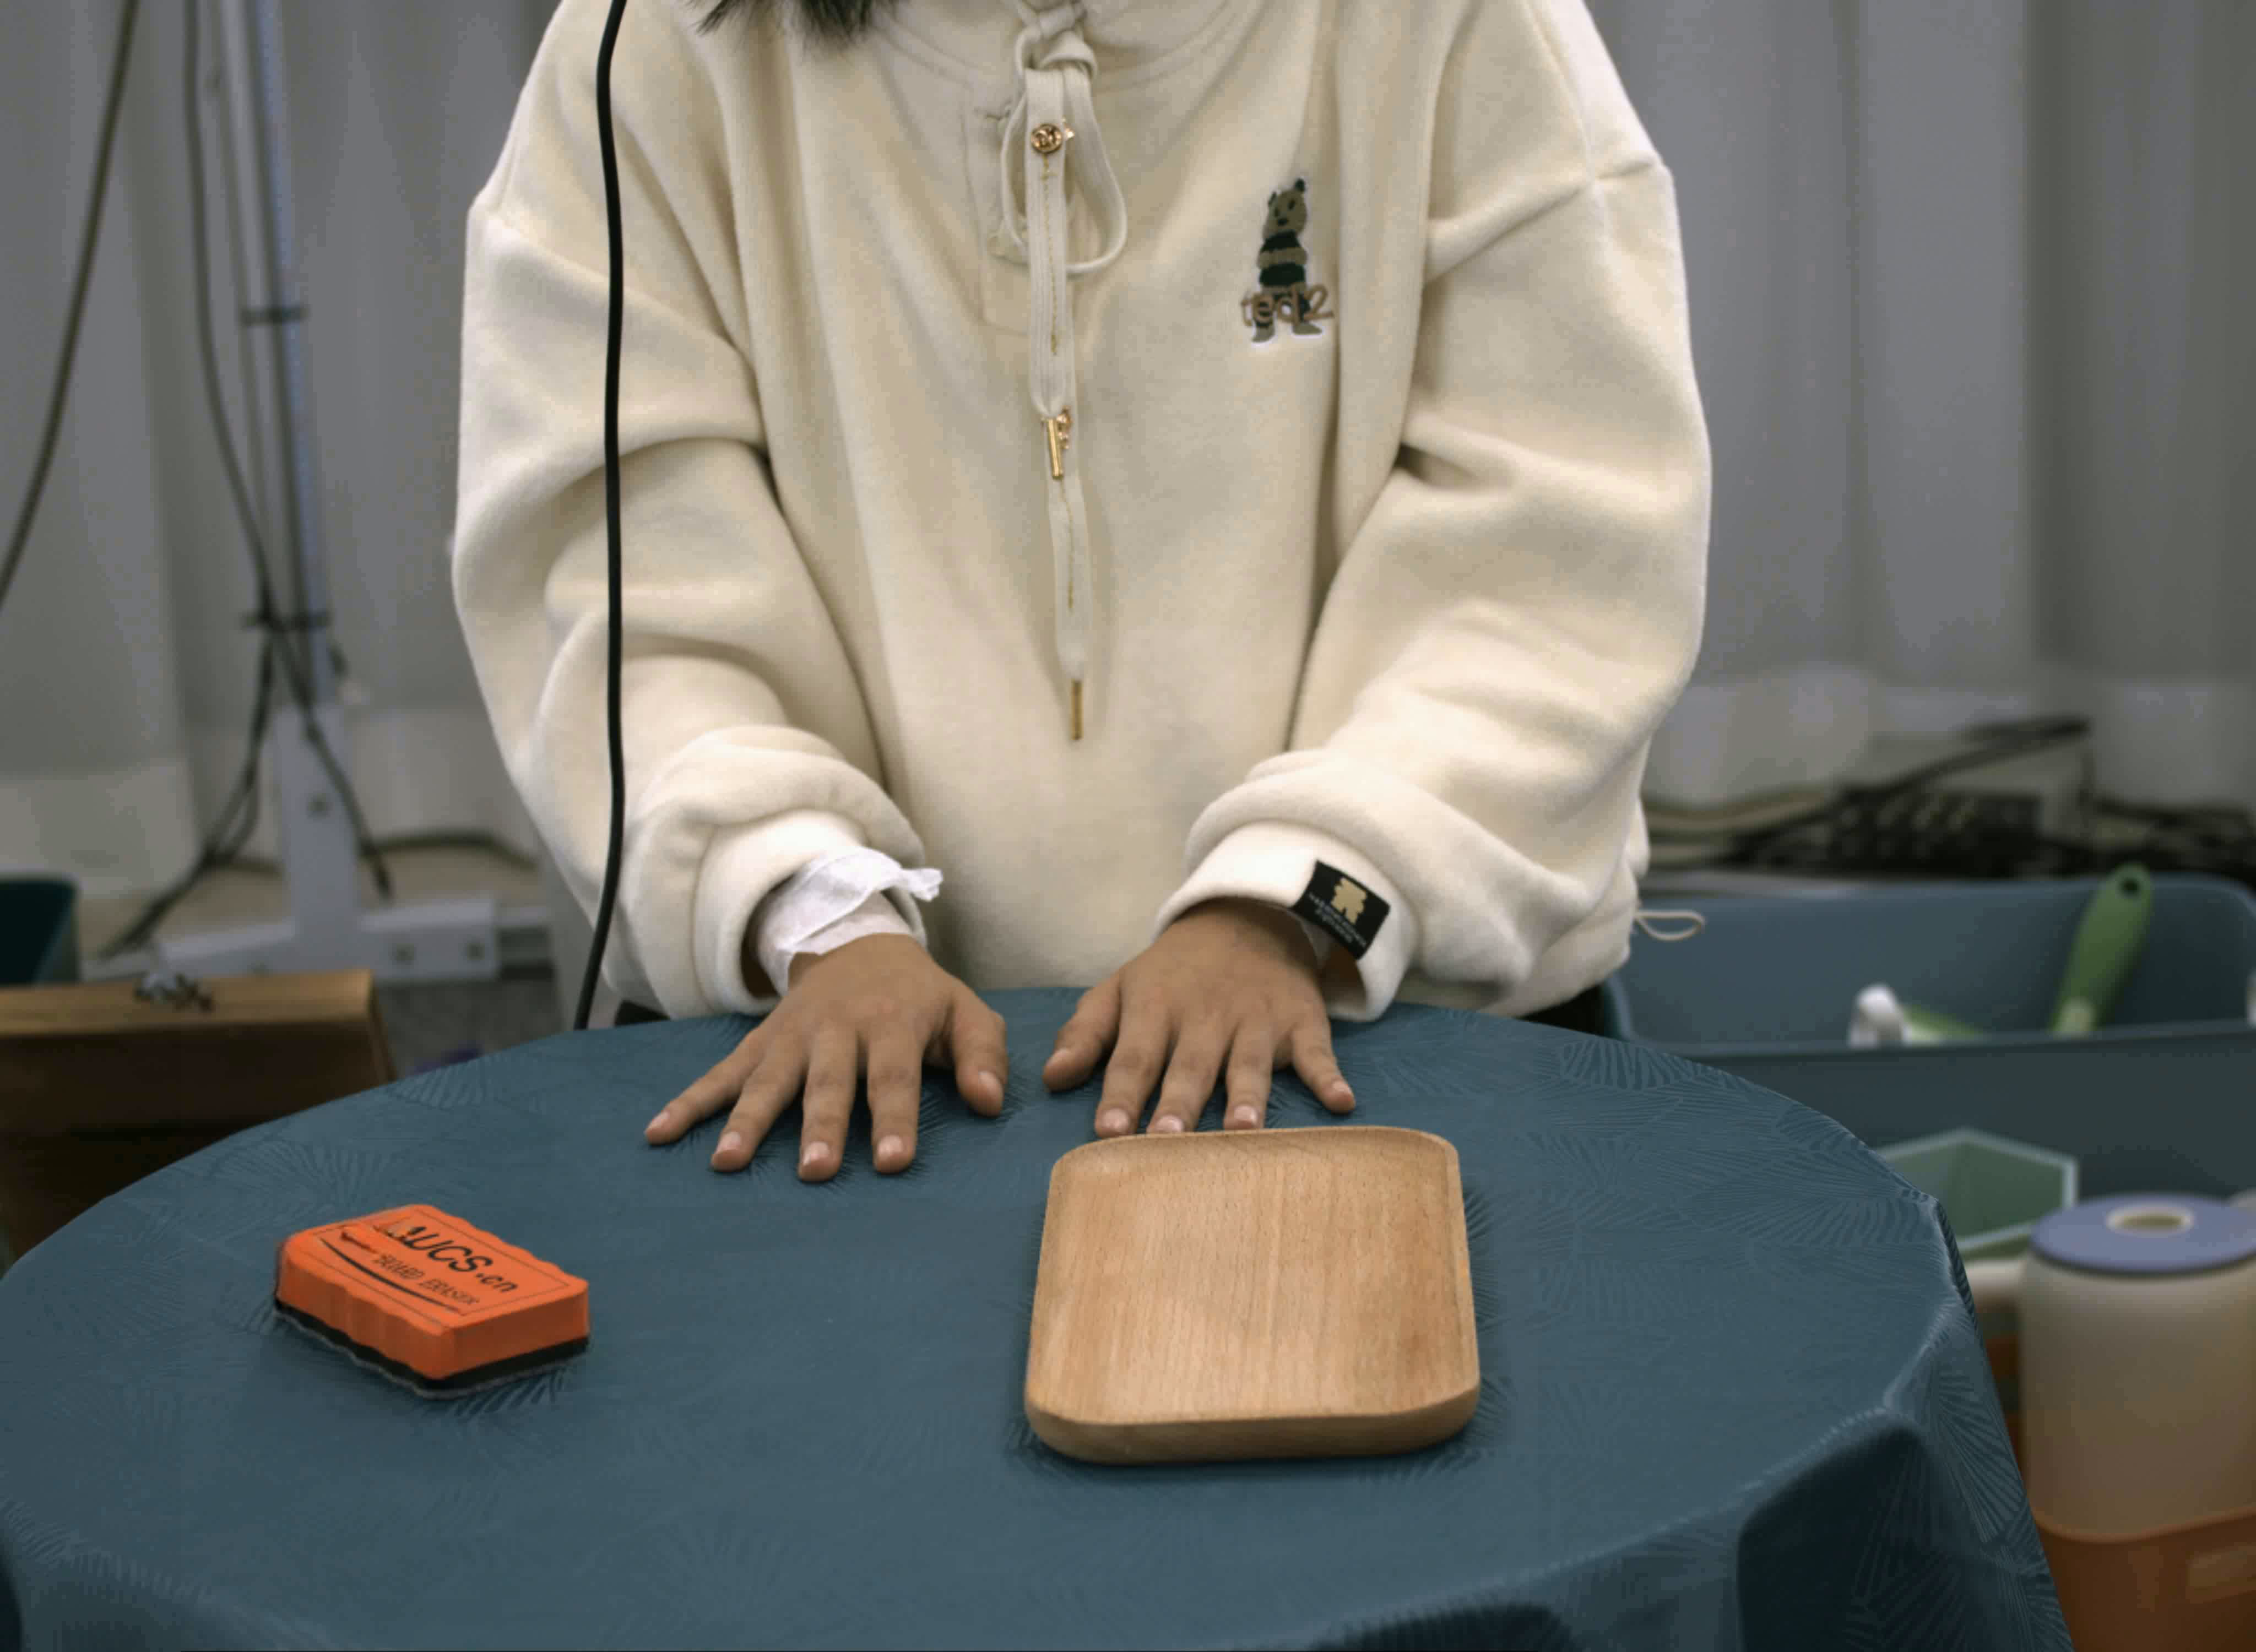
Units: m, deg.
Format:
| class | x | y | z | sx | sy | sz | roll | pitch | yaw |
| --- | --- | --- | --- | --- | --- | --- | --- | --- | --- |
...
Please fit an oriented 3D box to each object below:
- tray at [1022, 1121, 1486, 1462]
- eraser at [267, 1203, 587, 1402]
| class | x | y | z | sx | sy | sz | roll | pitch | yaw |
| --- | --- | --- | --- | --- | --- | --- | --- | --- | --- |
| tray | 0.039 | 0.133 | 1.600 | 0.130 | 0.023 | 0.252 | 1 | 15 | 3 |
| eraser | -0.207 | 0.140 | 1.615 | 0.059 | 0.023 | 0.109 | -14 | 19 | -33 |
